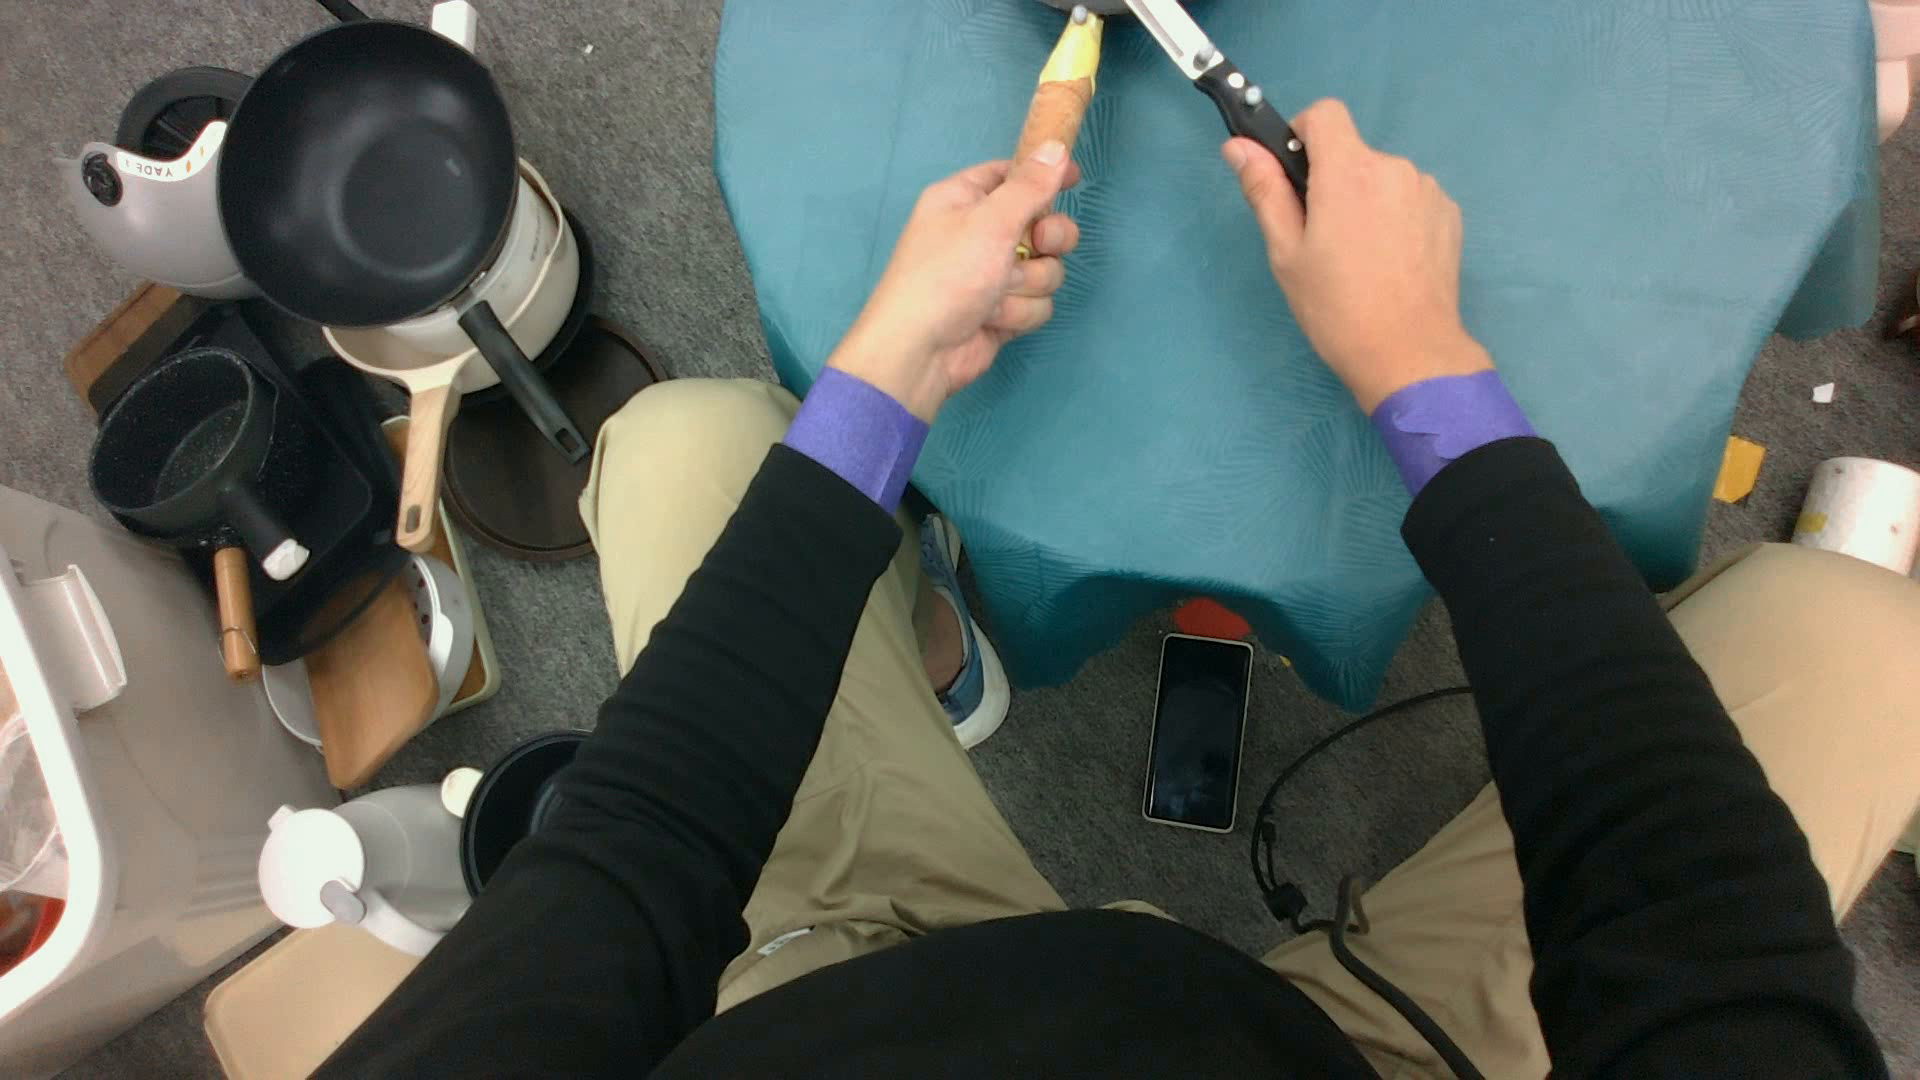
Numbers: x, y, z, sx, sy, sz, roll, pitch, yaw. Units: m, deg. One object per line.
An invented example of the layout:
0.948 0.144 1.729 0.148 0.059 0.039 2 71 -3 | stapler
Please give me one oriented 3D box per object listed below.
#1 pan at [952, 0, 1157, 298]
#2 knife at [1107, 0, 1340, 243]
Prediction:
0.051 -0.267 0.709 0.169 0.049 0.325 14 77 15 | pan
0.105 -0.239 0.671 0.024 0.016 0.238 -37 83 -20 | knife
